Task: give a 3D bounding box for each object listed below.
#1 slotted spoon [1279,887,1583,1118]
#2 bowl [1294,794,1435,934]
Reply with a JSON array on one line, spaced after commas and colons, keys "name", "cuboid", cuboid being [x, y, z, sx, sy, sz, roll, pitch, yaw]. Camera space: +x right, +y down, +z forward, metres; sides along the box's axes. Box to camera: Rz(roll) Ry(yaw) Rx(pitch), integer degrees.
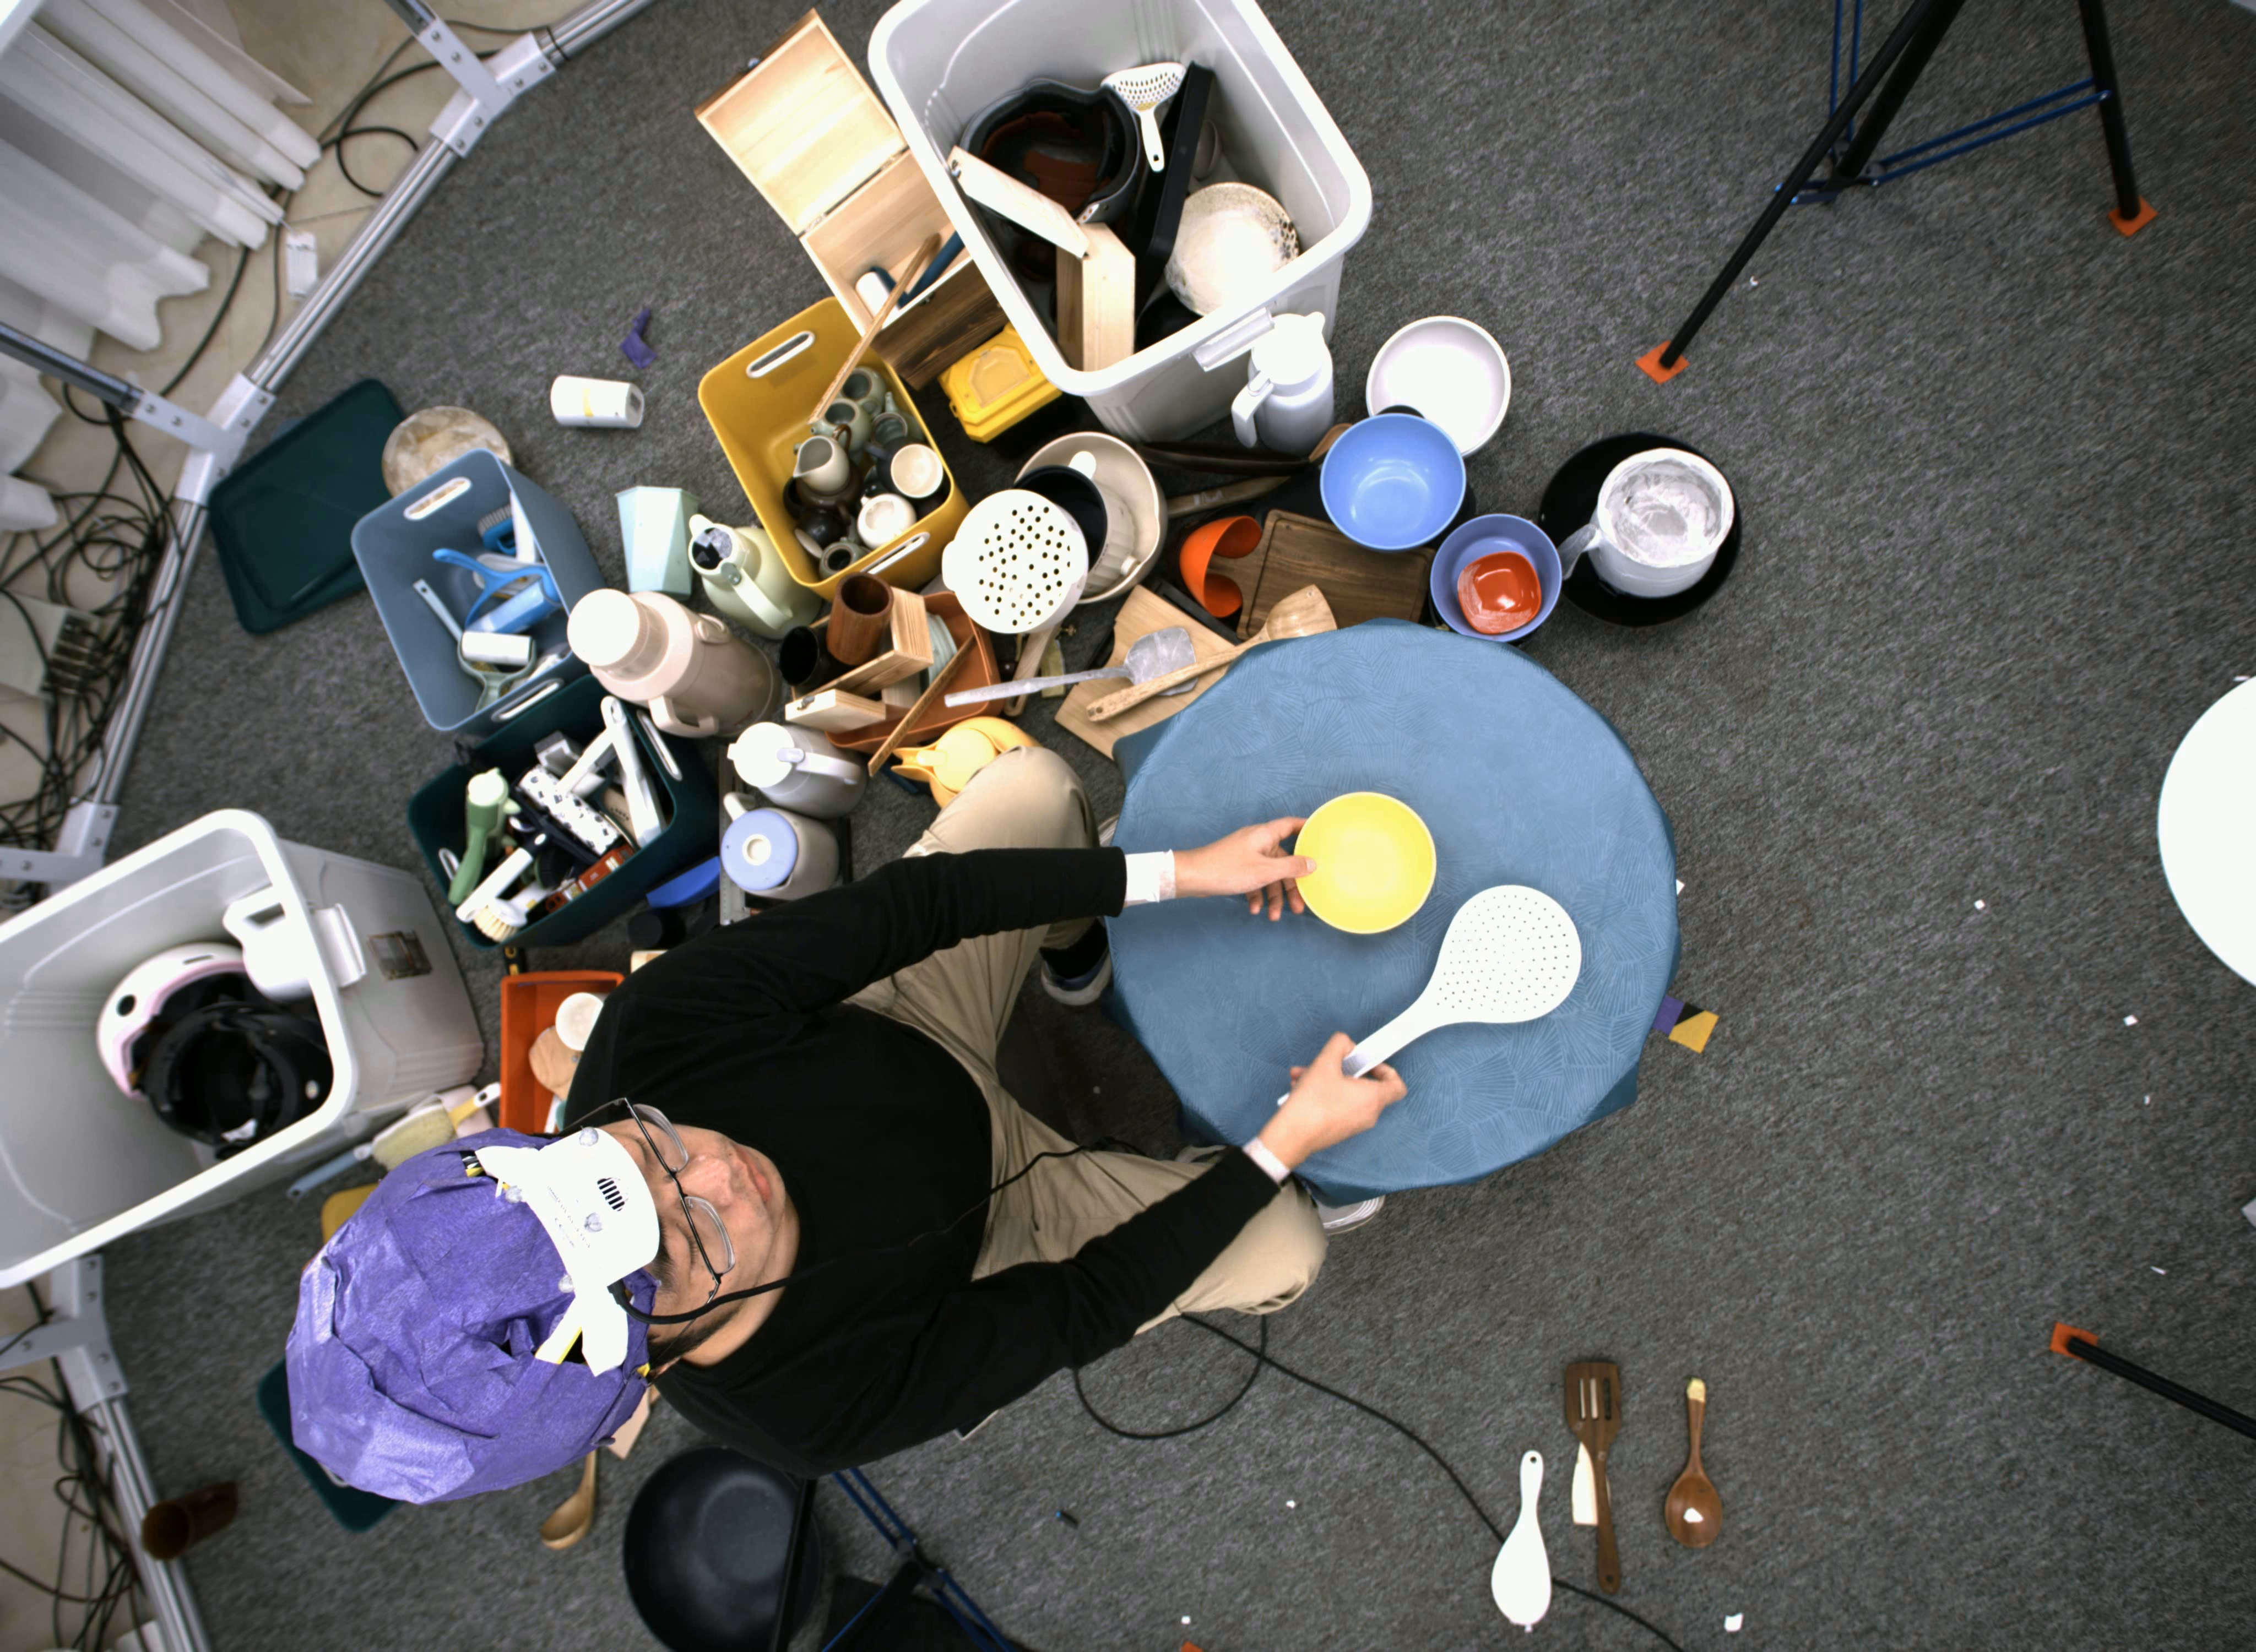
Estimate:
[{"name": "slotted spoon", "cuboid": [0.303, 0.188, 1.402, 0.349, 0.046, 0.135, -34, 84, -4]}, {"name": "bowl", "cuboid": [0.246, 0.041, 1.438, 0.146, 0.060, 0.144, -1, 84, 10]}]
